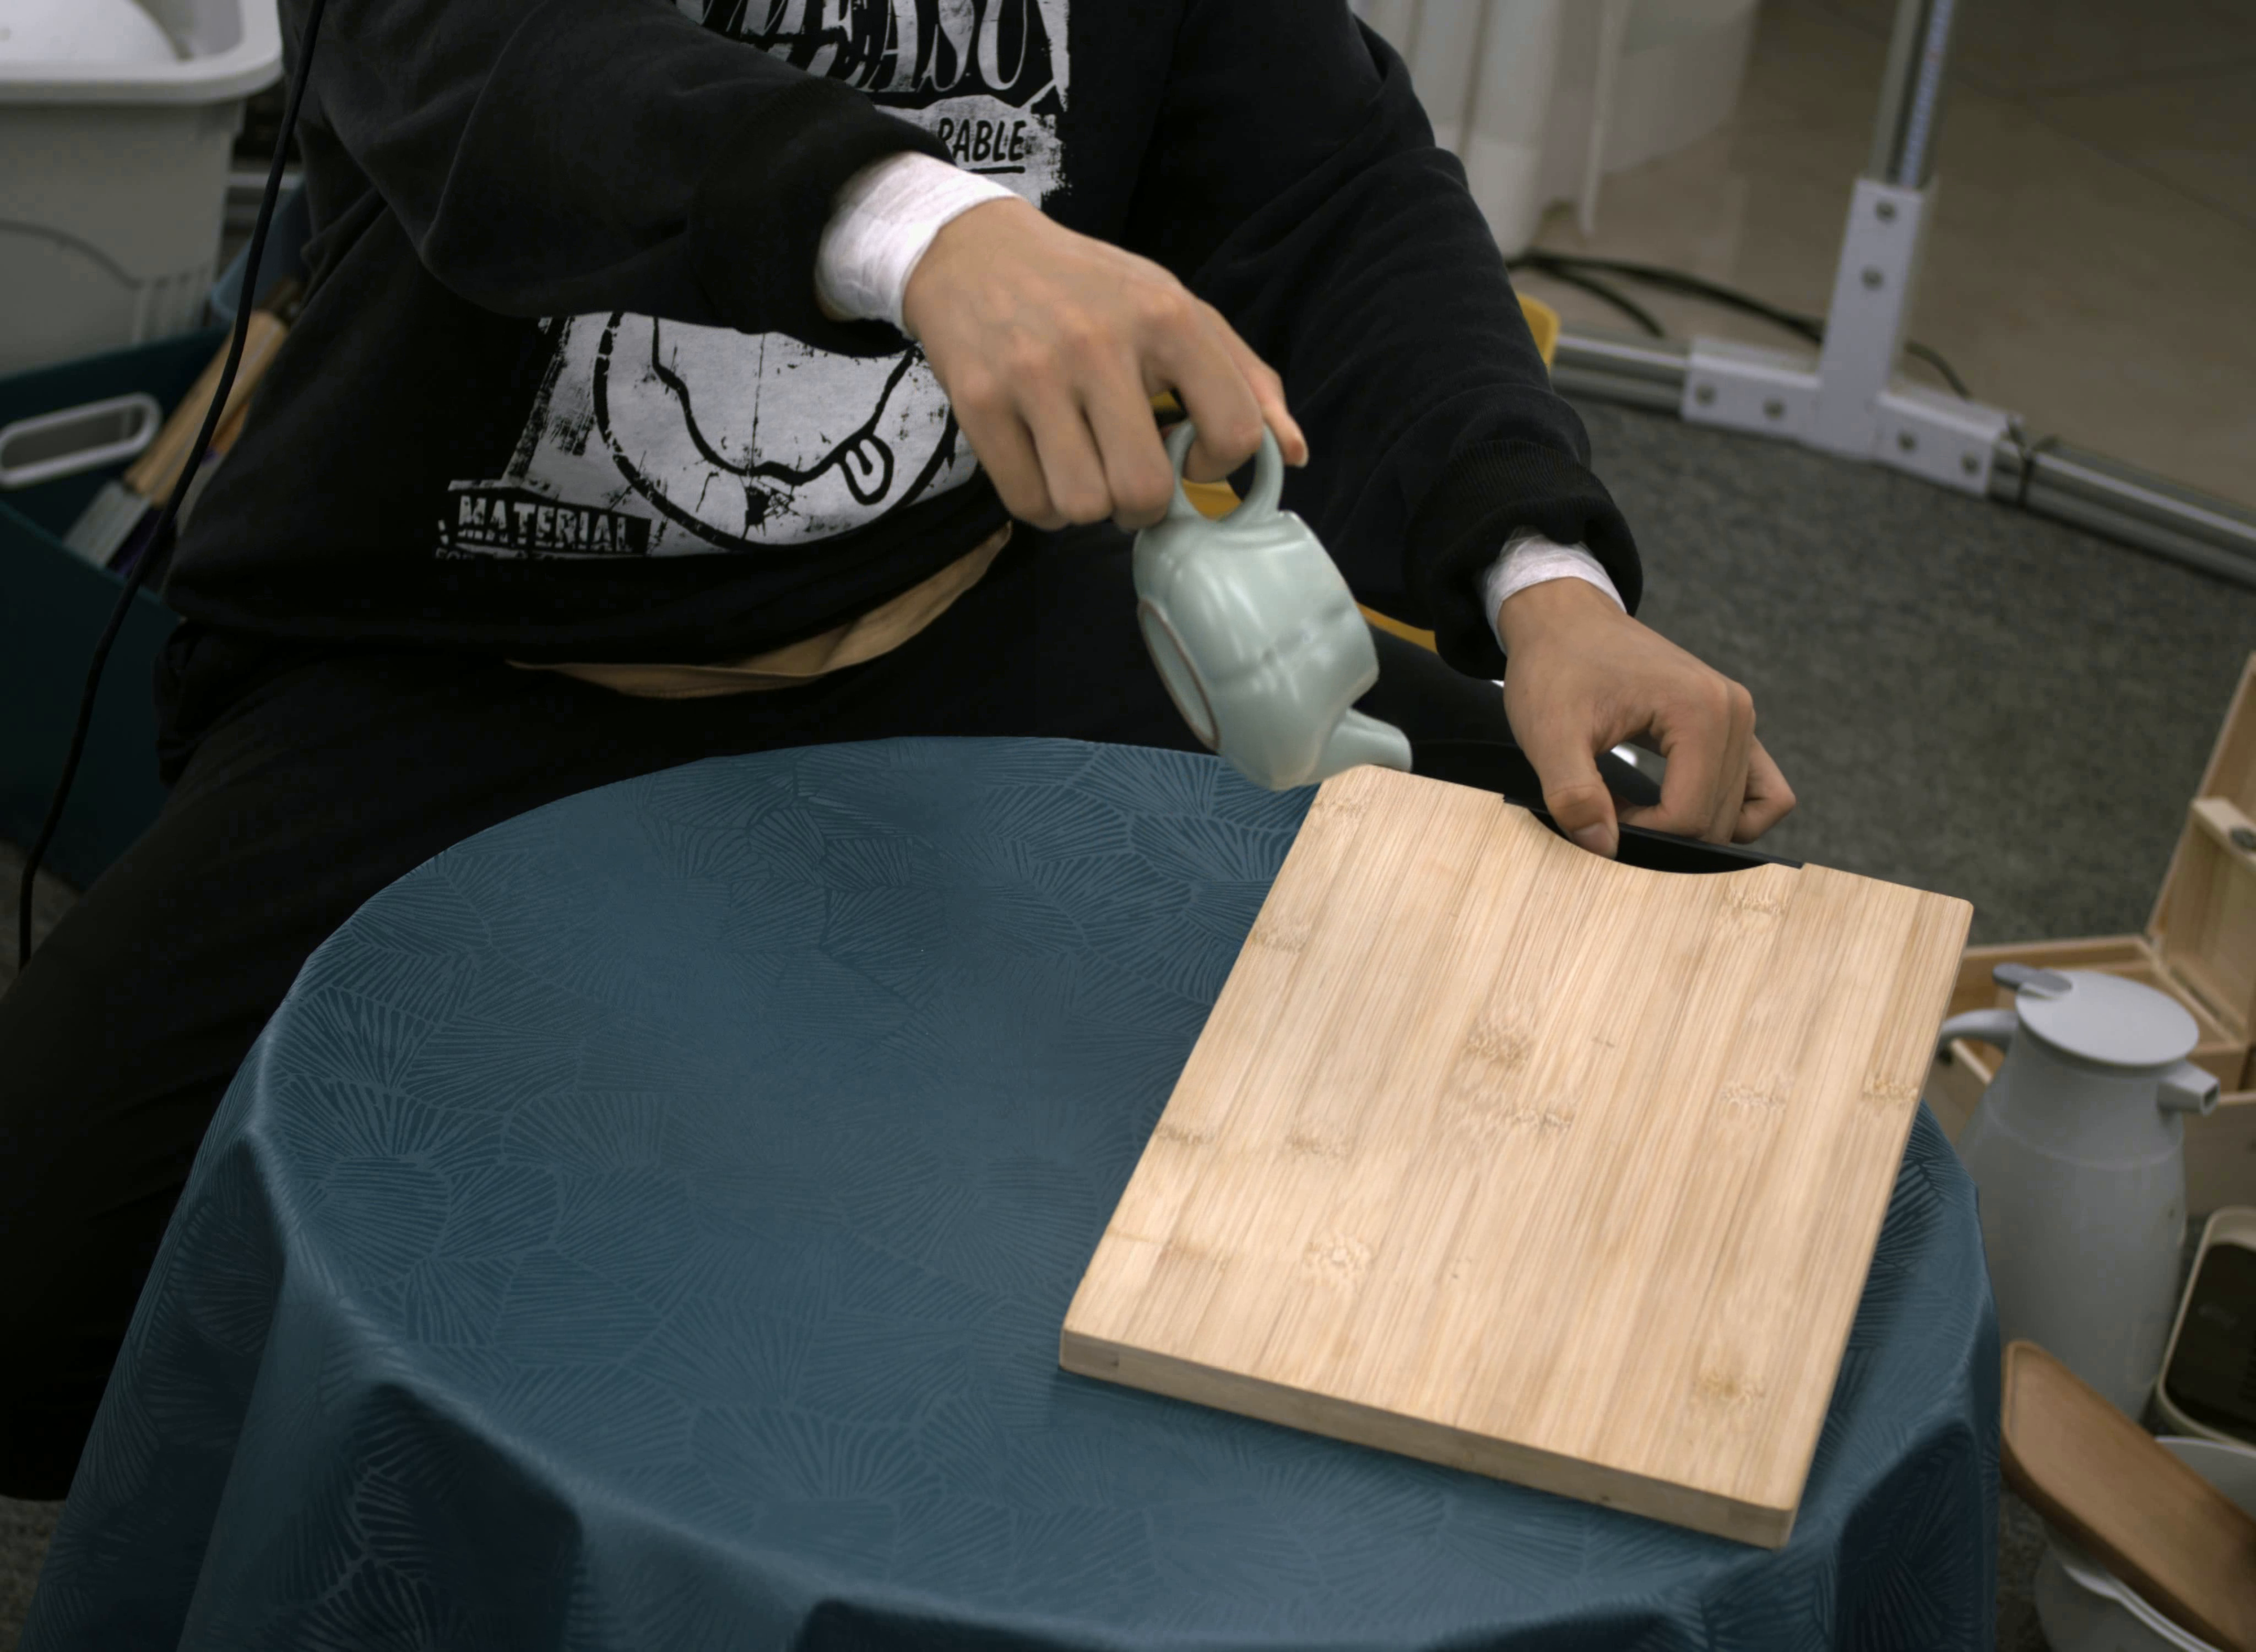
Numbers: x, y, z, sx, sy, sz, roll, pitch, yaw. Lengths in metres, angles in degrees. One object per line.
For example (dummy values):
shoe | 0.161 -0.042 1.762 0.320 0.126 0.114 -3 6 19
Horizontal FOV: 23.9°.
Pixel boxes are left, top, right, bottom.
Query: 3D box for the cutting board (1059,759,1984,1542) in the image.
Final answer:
cutting board | 0.142 0.098 1.810 0.251 0.023 0.350 12 36 11

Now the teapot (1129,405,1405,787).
teapot | 0.038 -0.066 1.693 0.061 0.136 0.097 -26 17 -8
